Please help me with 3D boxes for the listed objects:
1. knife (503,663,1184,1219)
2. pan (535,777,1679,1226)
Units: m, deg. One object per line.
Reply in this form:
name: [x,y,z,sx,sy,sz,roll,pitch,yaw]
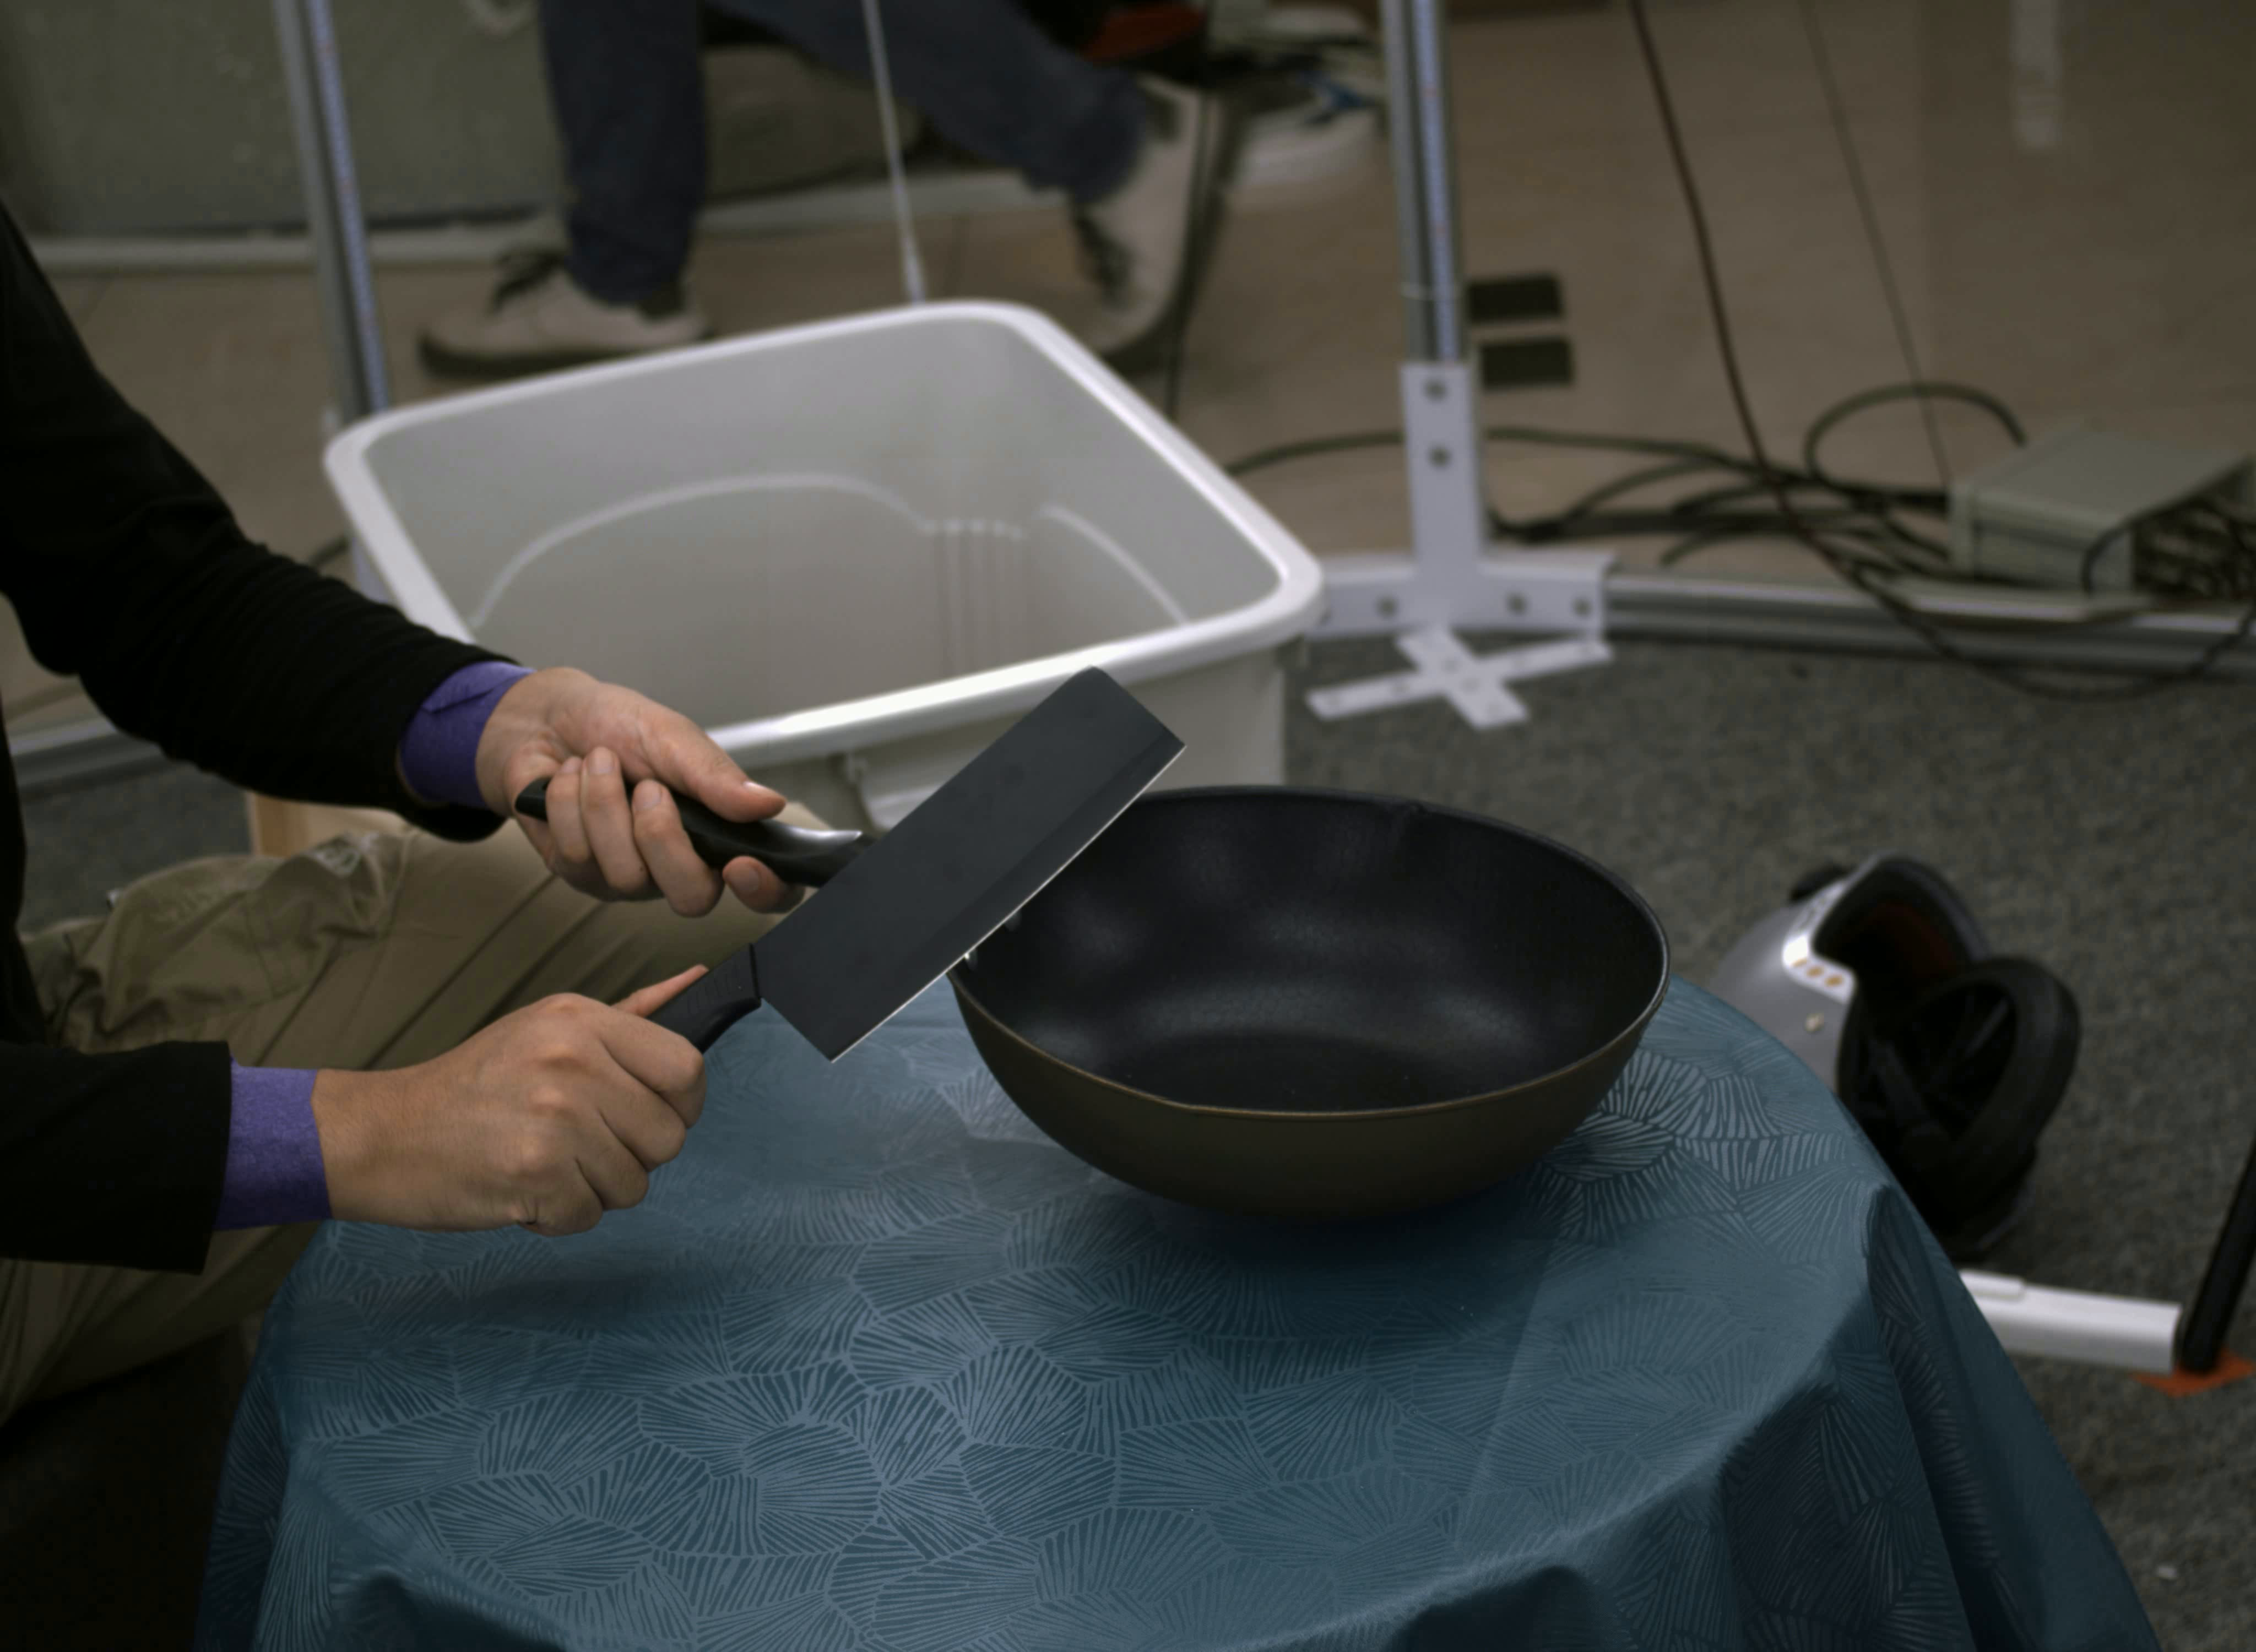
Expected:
knife: [-0.109,0.046,2.110,0.301,0.021,0.080,-37,54,-6]
pan: [-0.019,0.061,2.173,0.461,0.088,0.284,11,26,18]
